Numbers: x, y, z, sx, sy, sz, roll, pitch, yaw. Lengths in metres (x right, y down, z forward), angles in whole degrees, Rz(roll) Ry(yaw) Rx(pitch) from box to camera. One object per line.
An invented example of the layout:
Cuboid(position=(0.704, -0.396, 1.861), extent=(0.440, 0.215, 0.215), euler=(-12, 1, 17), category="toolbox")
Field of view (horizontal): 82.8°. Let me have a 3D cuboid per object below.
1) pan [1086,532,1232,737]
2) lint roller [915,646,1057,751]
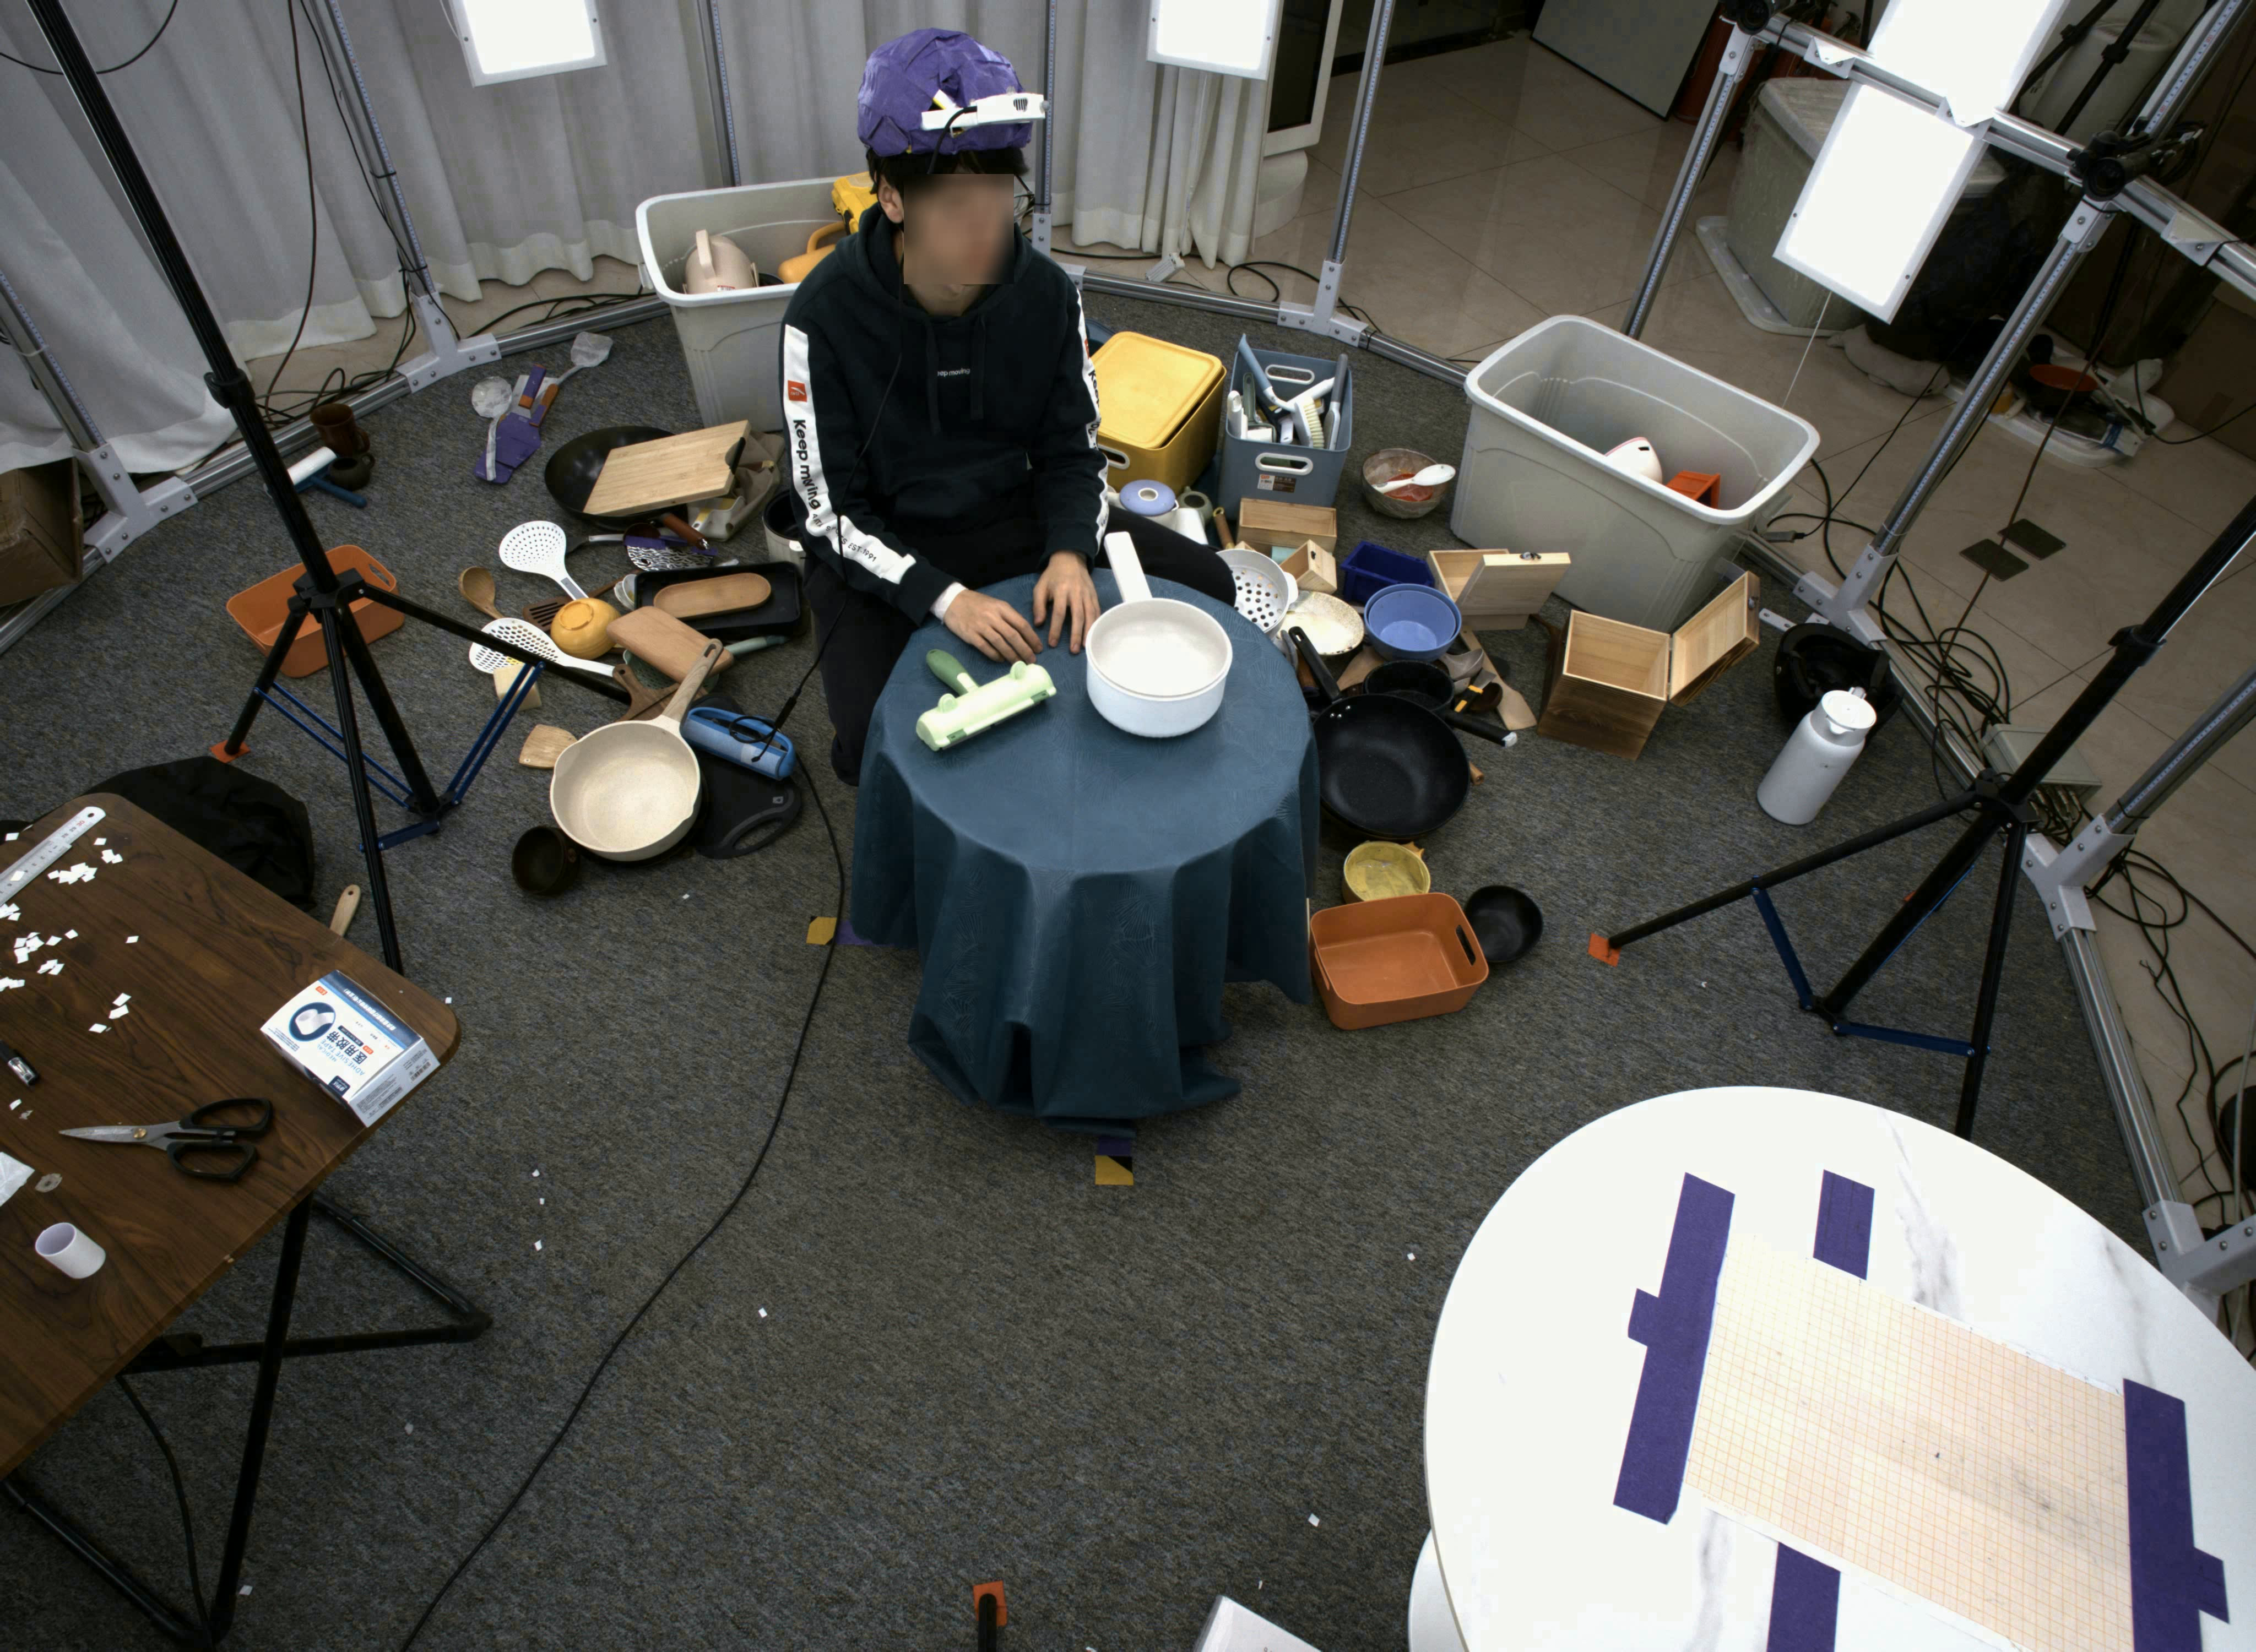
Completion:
Cuboid(position=(0.024, -0.275, 1.844), extent=(0.201, 0.099, 0.364), euler=(-7, 49, -10), category="pan")
Cuboid(position=(-0.227, -0.207, 1.784), extent=(0.199, 0.080, 0.186), euler=(-28, 62, -24), category="lint roller")
